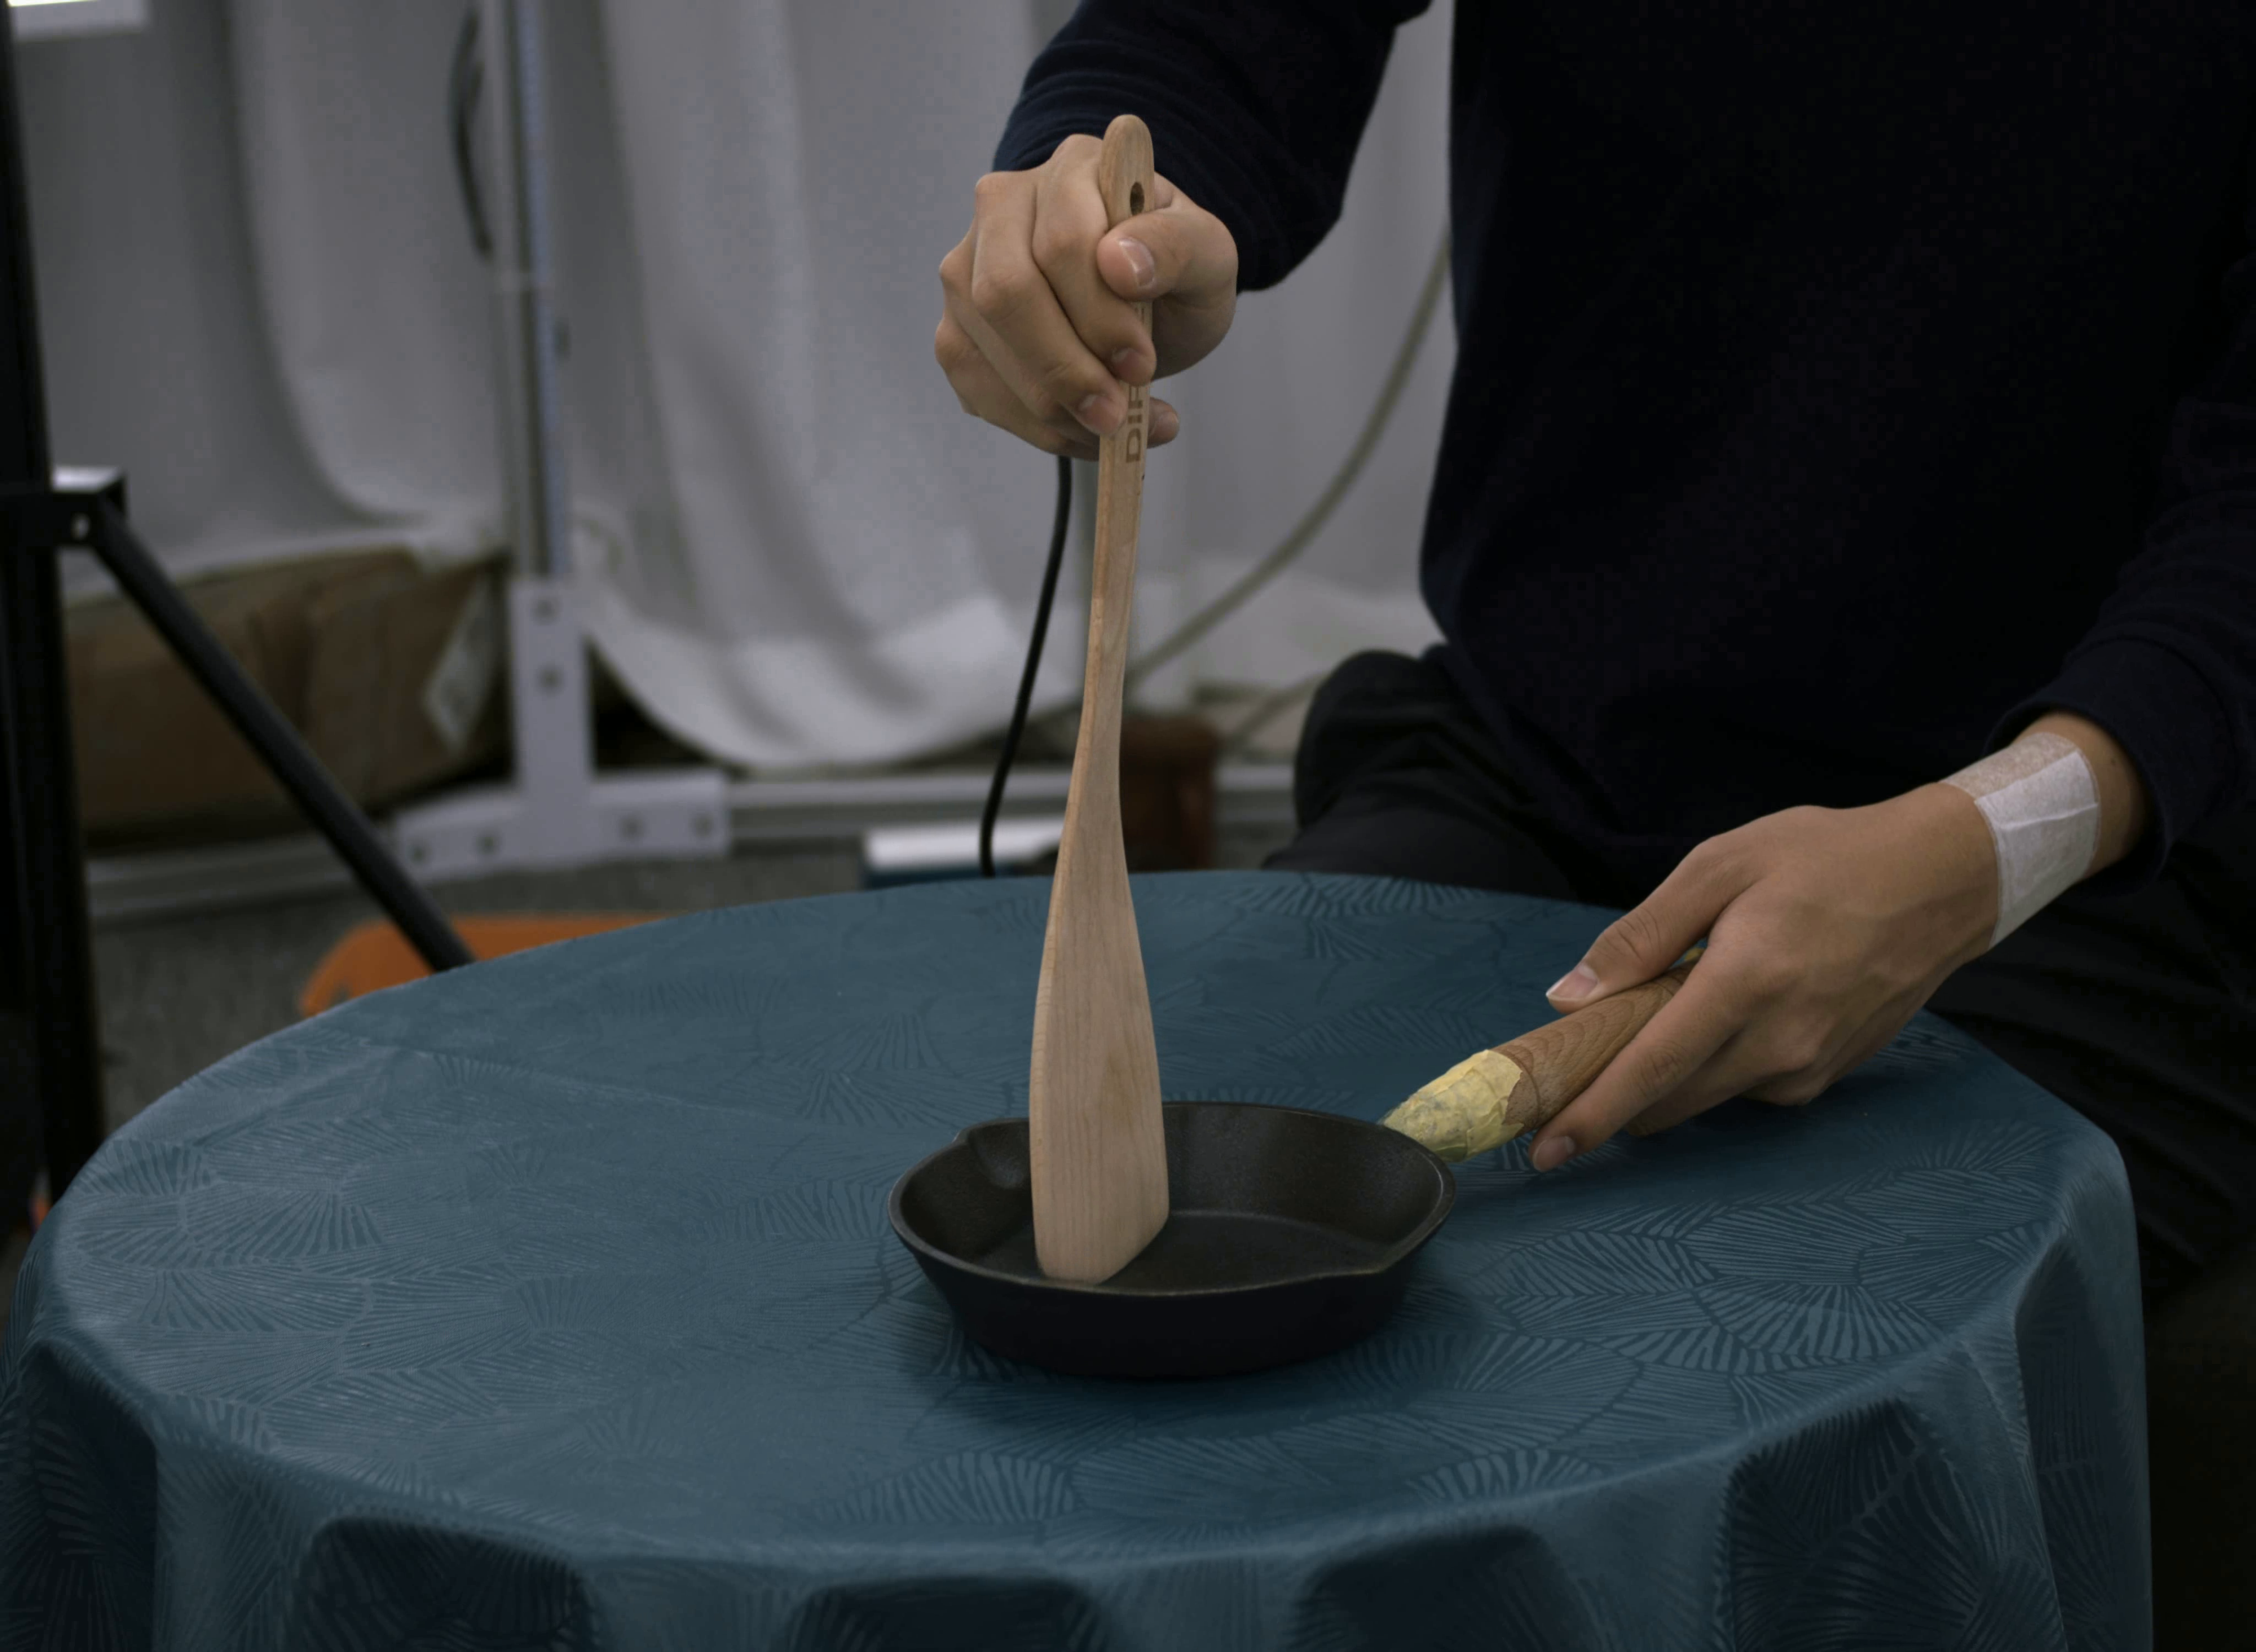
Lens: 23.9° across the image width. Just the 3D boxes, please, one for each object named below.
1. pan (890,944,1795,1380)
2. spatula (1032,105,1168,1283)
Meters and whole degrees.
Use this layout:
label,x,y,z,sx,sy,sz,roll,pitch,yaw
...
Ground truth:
label,x,y,z,sx,sy,sz,roll,pitch,yaw
pan,0.078,0.091,1.511,0.317,0.049,0.173,-16,20,-35
spatula,-0.002,-0.032,1.467,0.017,0.328,0.078,6,8,25
